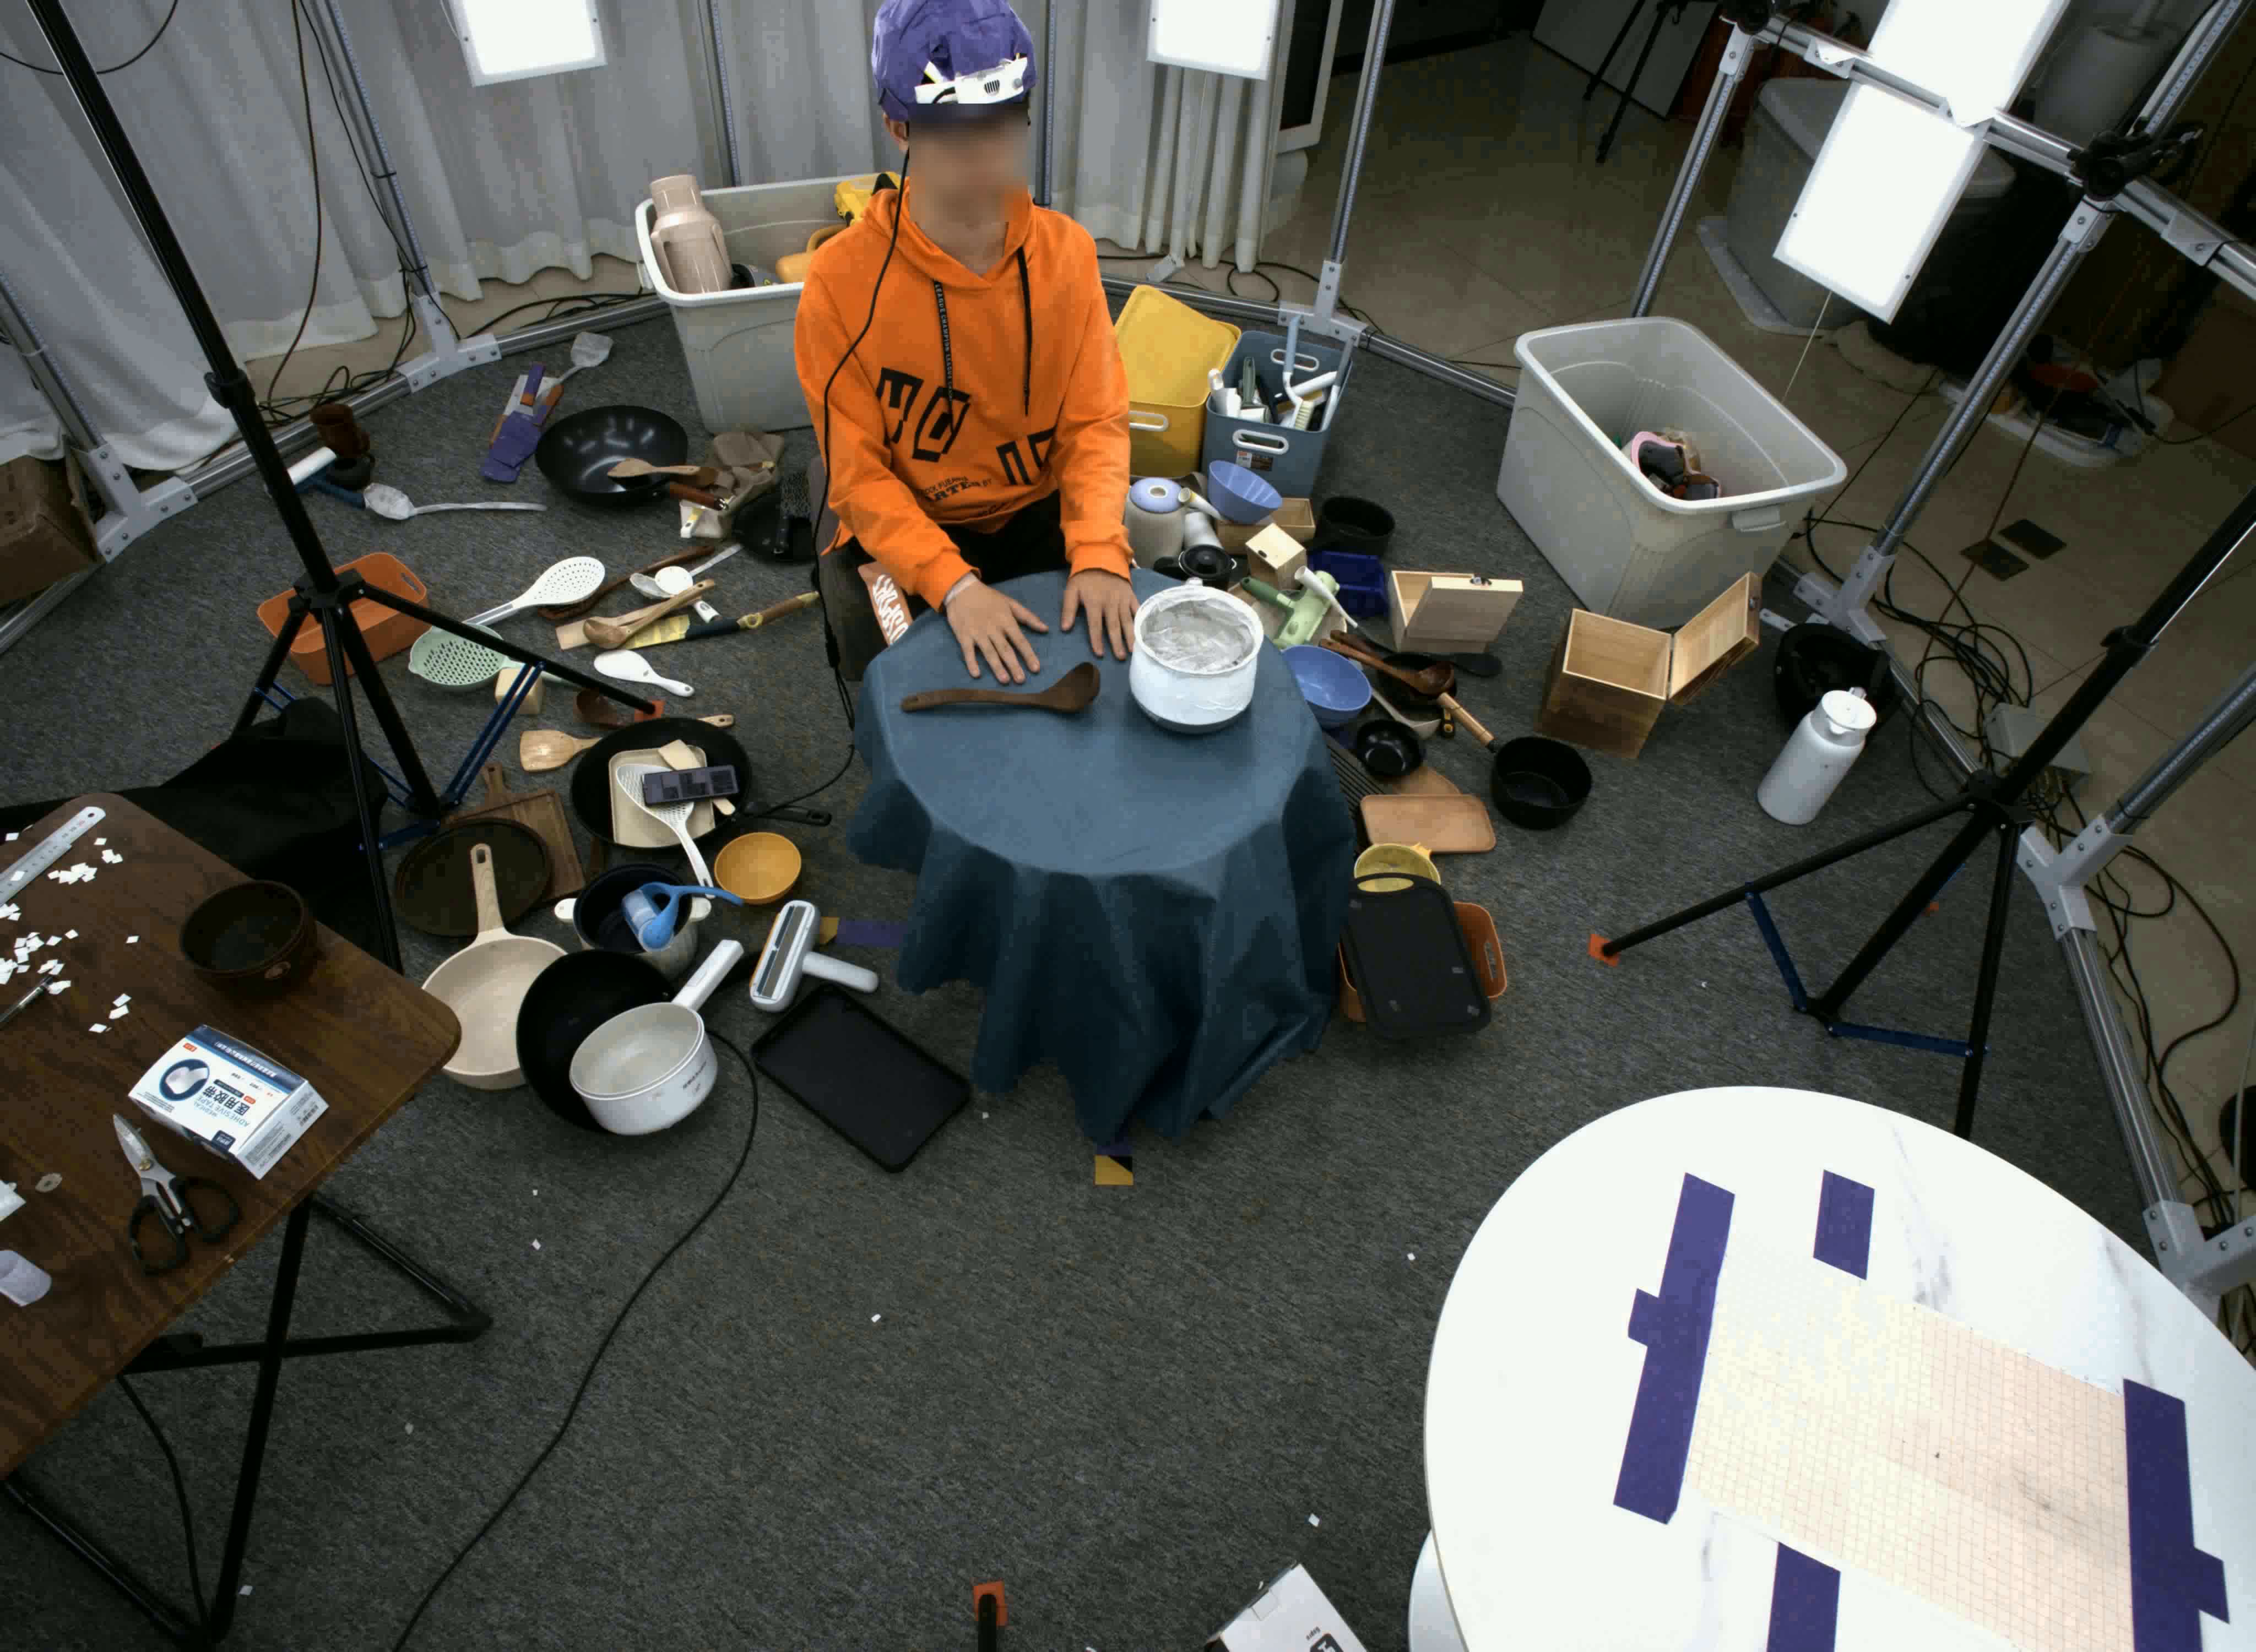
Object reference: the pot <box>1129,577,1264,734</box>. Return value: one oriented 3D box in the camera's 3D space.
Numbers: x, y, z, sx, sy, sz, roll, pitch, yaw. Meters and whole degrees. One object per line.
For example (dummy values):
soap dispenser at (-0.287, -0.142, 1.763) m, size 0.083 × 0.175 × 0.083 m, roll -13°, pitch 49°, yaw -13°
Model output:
pot at (0.091, -0.249, 1.802) m, size 0.178 × 0.133 × 0.239 m, roll 1°, pitch 49°, yaw -4°

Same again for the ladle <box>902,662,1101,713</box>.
ladle at (-0.175, -0.191, 1.778) m, size 0.274 × 0.069 × 0.078 m, roll -1°, pitch 46°, yaw -5°
